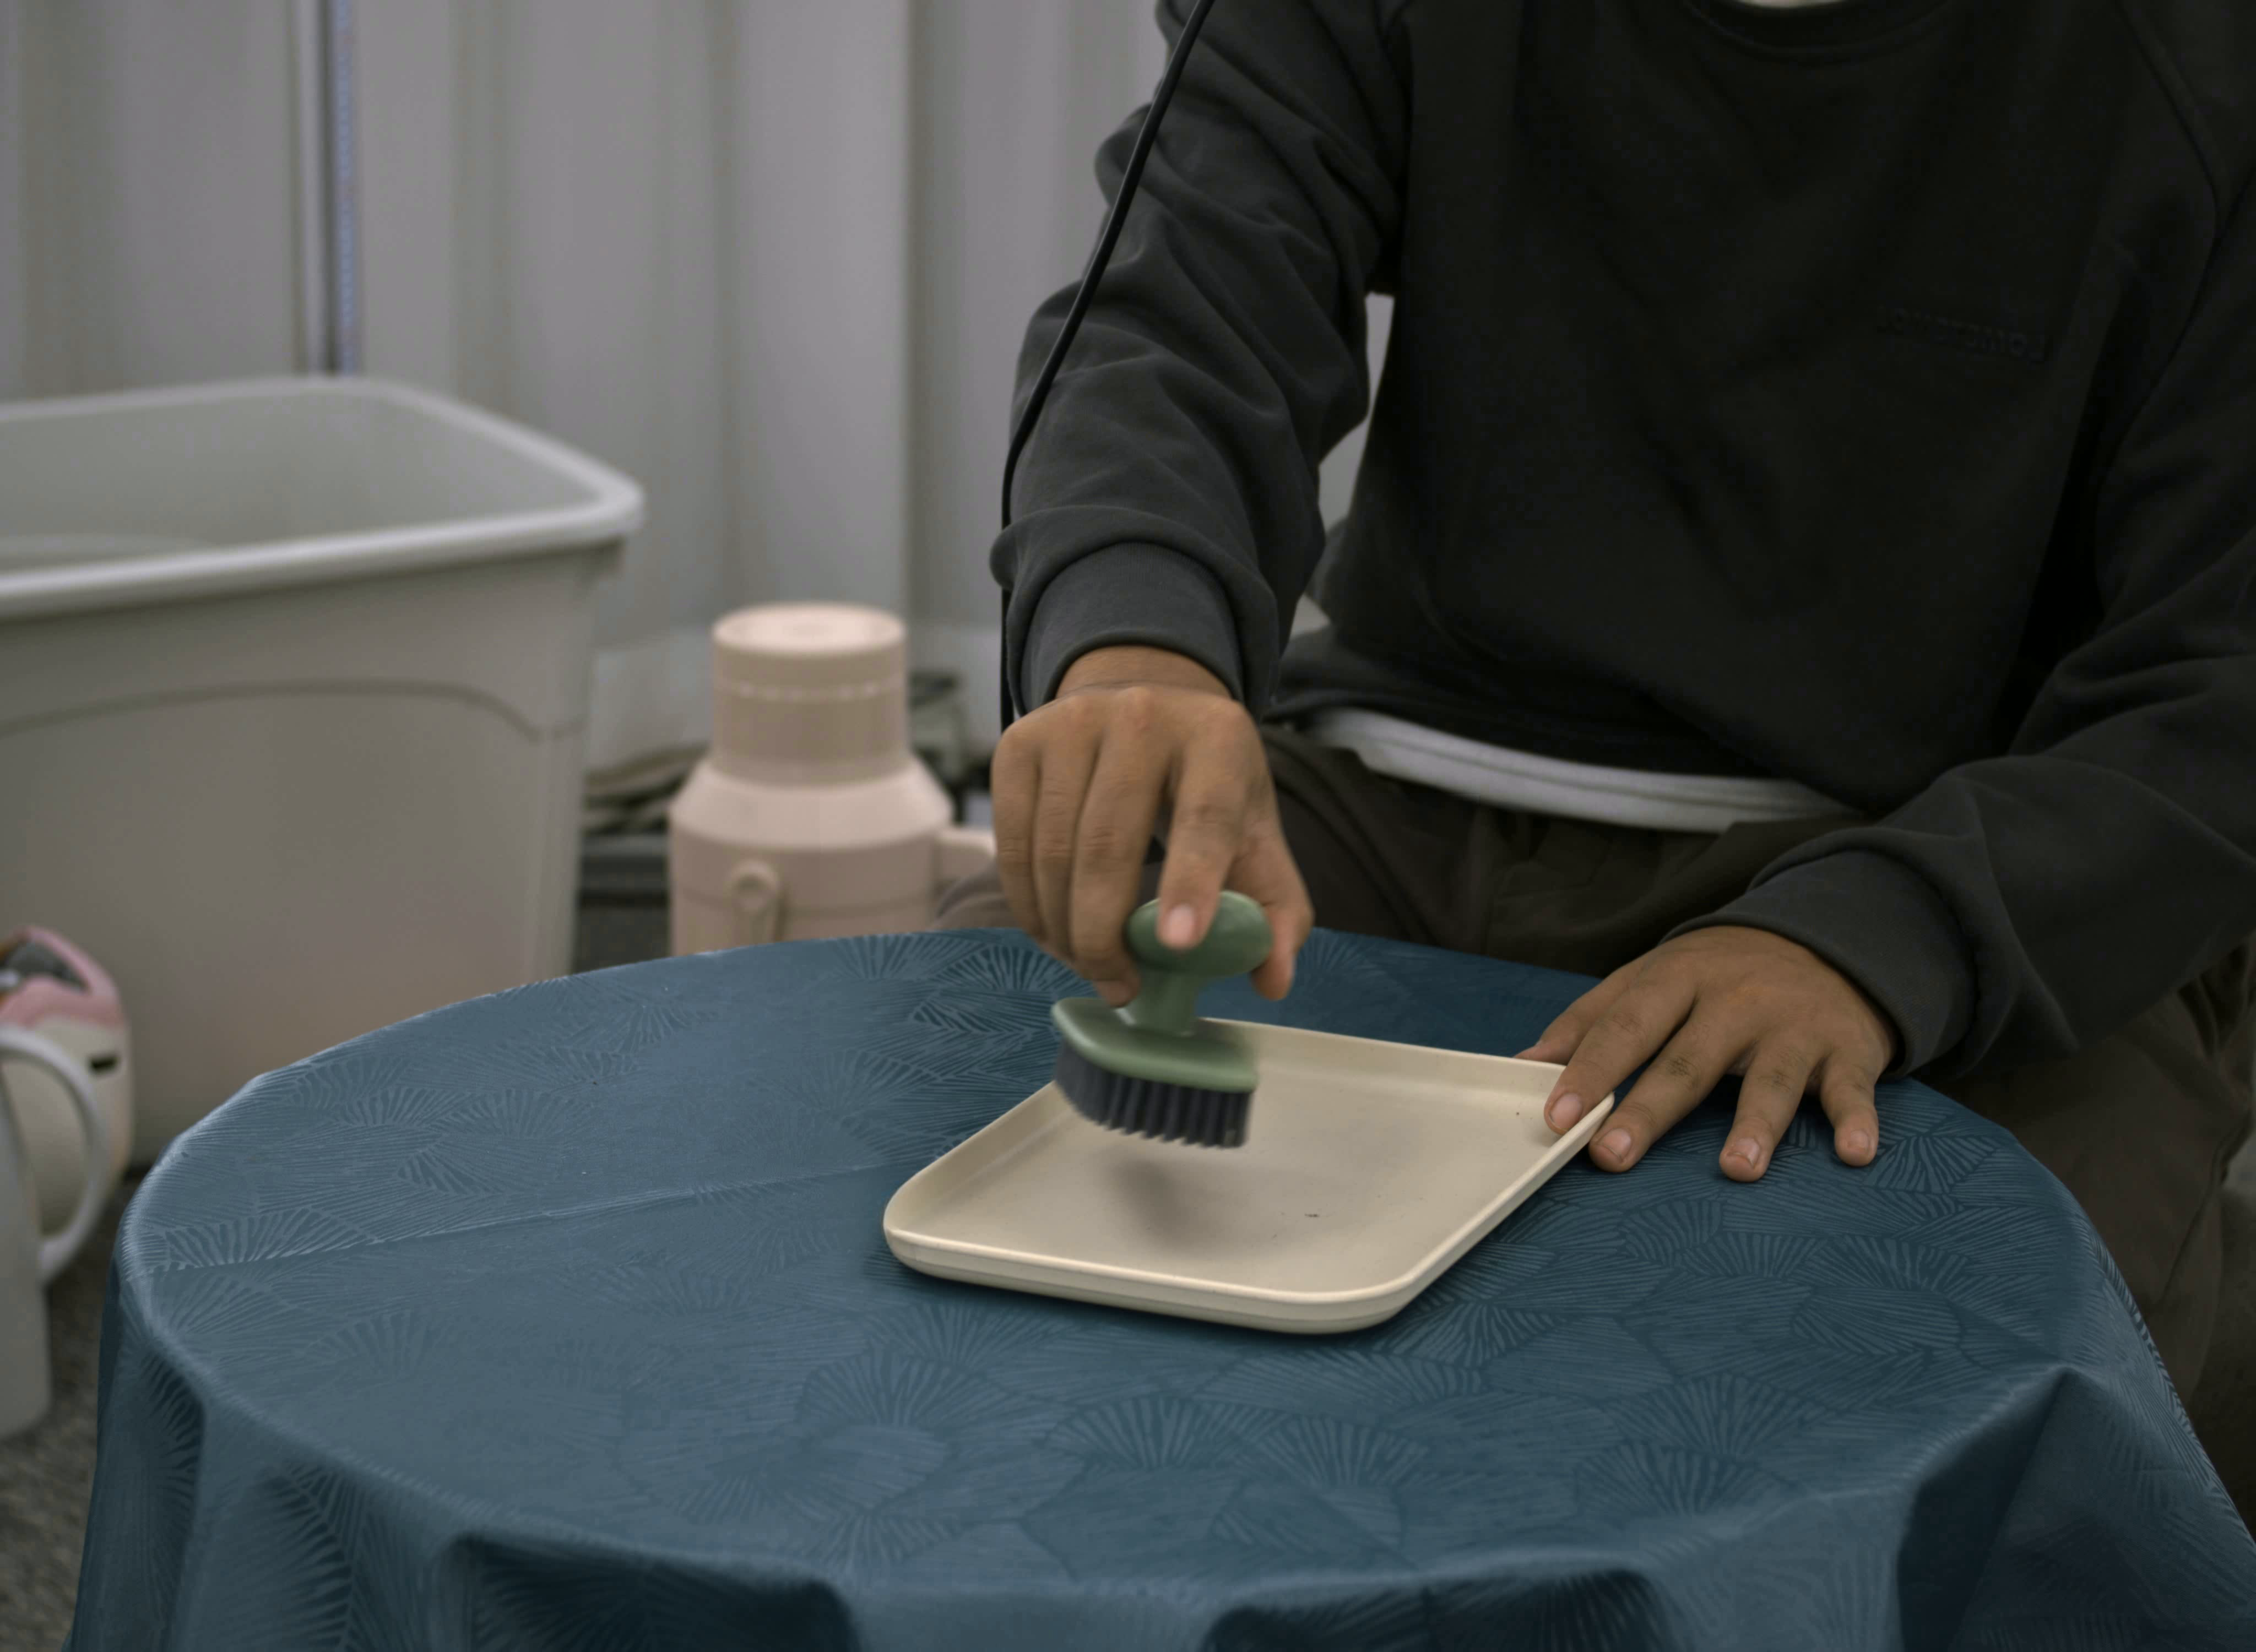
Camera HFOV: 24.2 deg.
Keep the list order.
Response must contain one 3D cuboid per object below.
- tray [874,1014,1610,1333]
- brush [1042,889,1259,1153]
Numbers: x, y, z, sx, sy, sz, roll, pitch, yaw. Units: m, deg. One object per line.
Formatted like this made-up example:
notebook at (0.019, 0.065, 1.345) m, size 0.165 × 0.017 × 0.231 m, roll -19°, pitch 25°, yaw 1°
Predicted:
tray at (0.039, 0.105, 1.620) m, size 0.169 × 0.017 × 0.240 m, roll 8°, pitch 17°, yaw 22°
brush at (0.007, 0.062, 1.588) m, size 0.059 × 0.076 × 0.122 m, roll 10°, pitch -8°, yaw -11°
